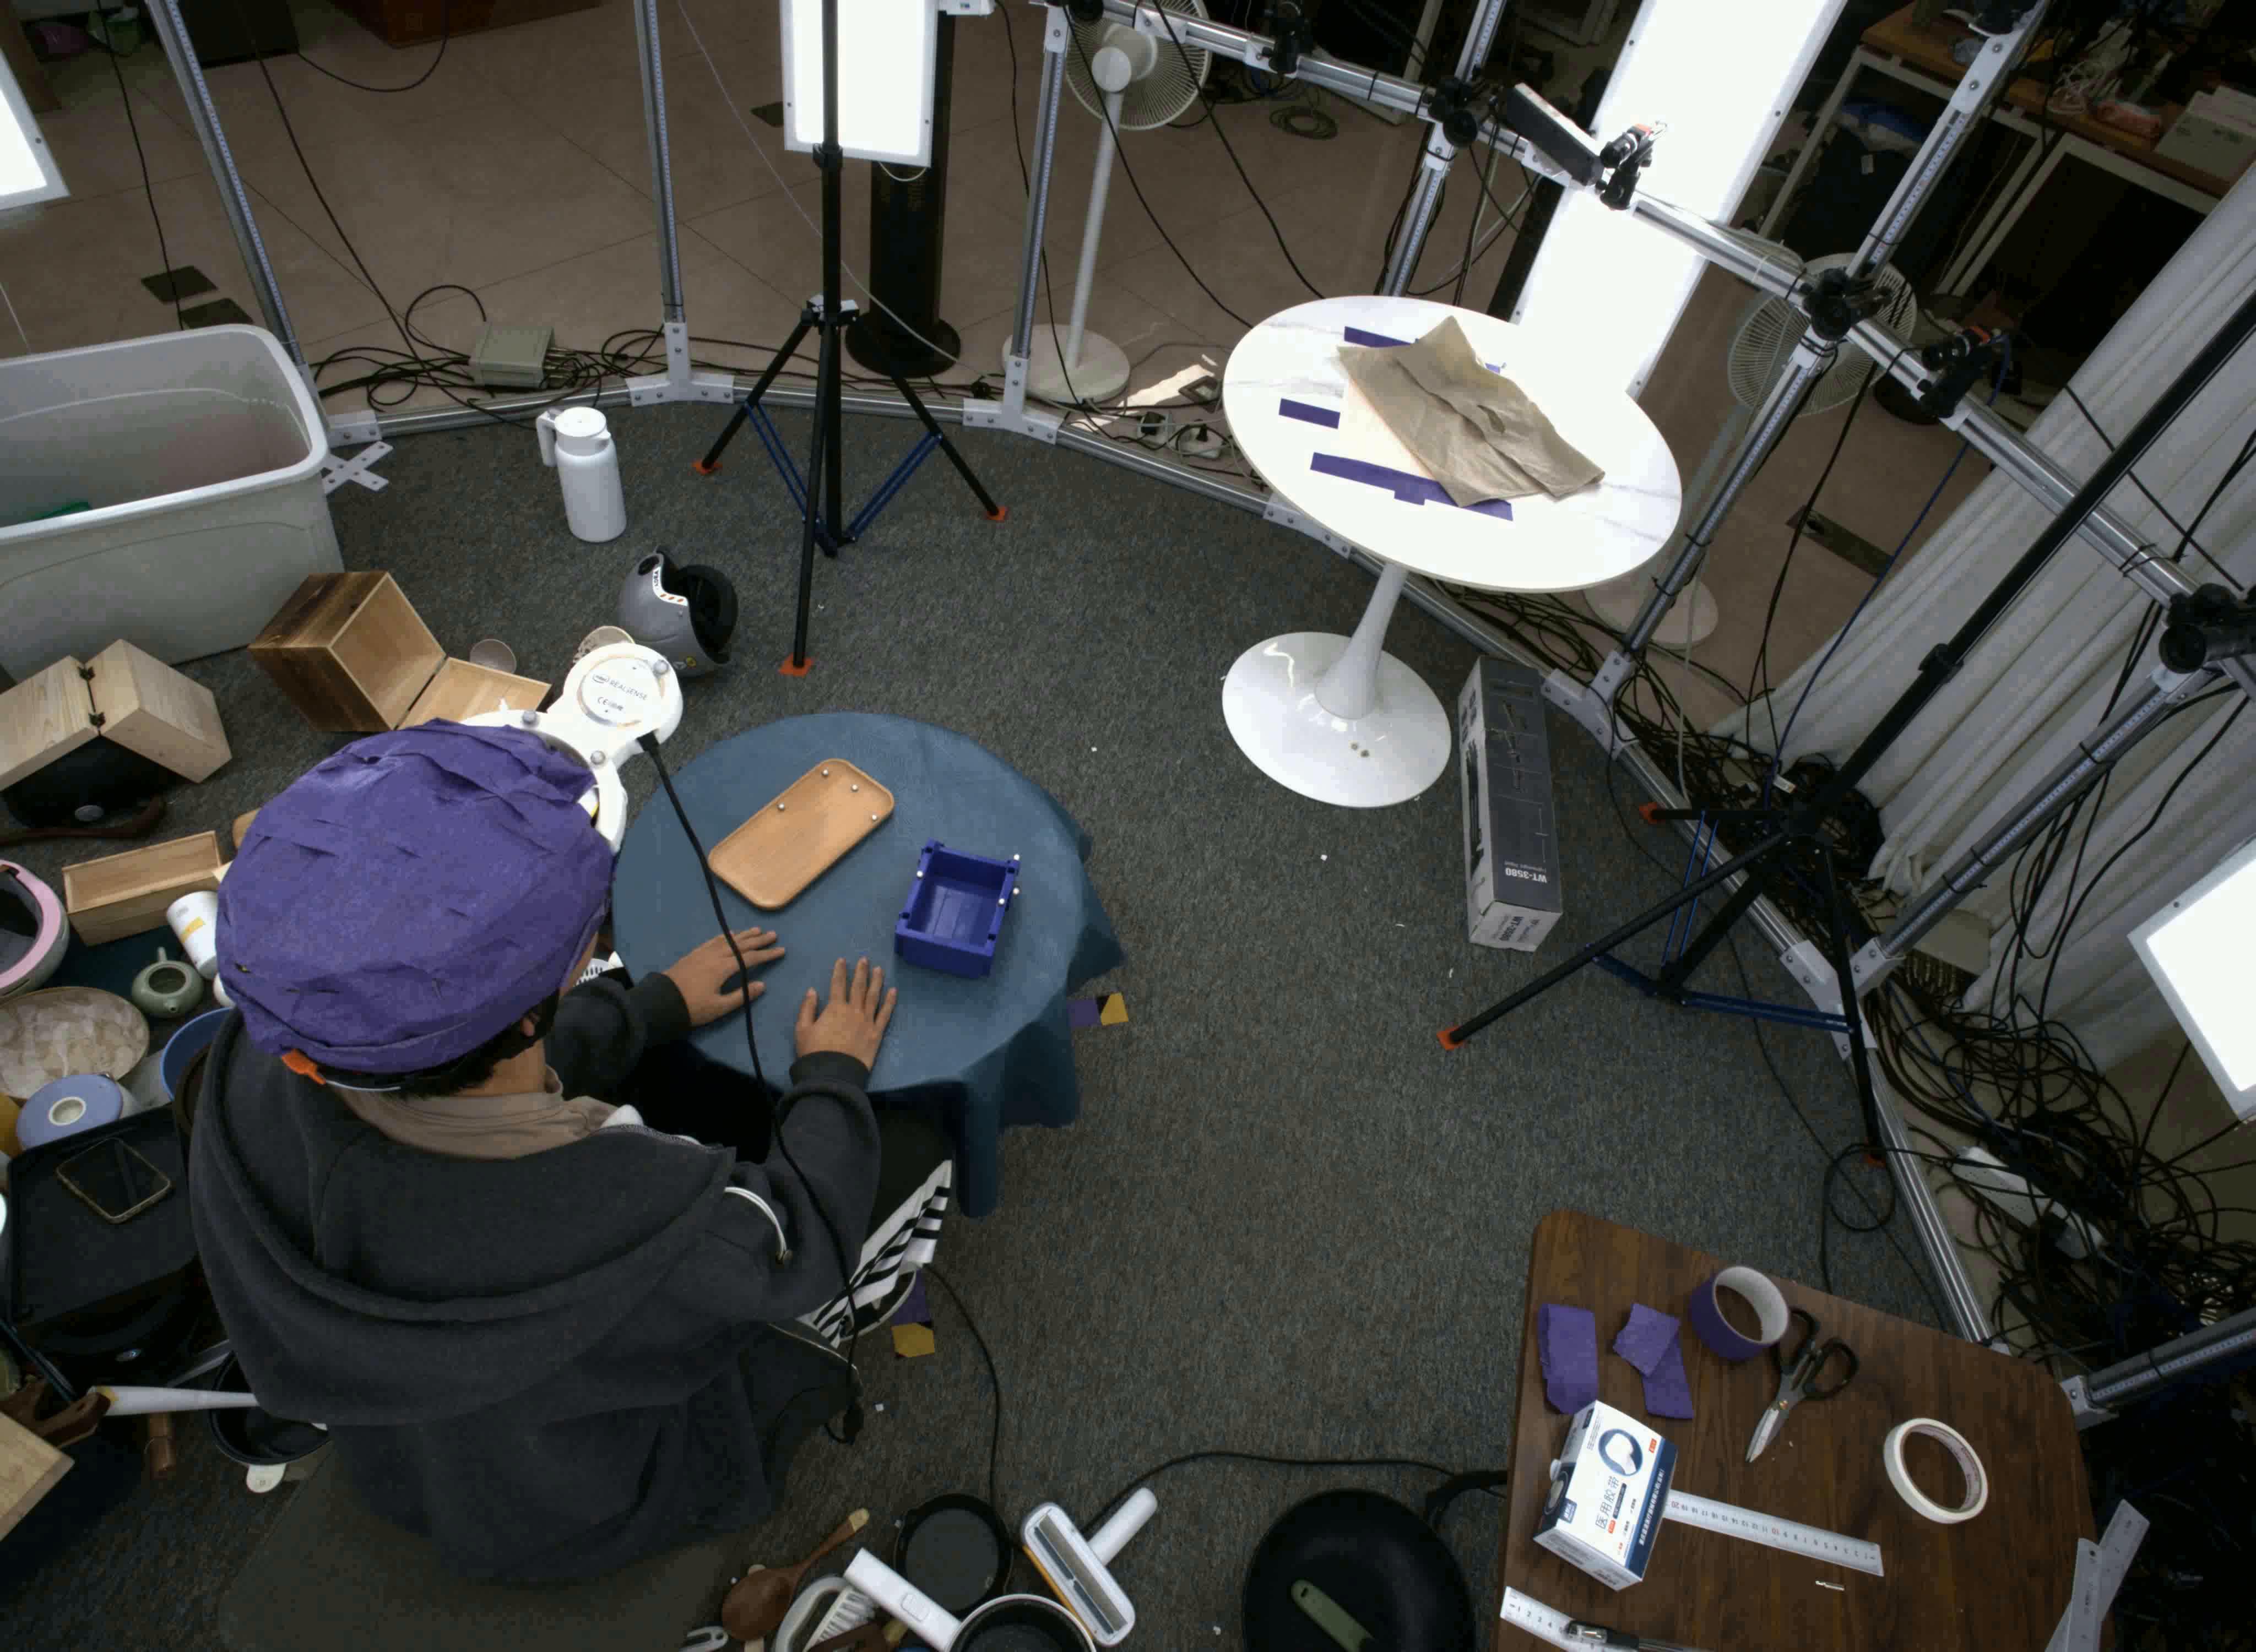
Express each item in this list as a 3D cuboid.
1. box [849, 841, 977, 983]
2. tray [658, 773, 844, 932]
[{"bbox_3d":[-0.269,0.100,1.641,0.124,0.083,0.177,13,55,-3],"label":"box"},{"bbox_3d":[-0.486,0.030,1.679,0.128,0.023,0.250,31,53,13],"label":"tray"}]
